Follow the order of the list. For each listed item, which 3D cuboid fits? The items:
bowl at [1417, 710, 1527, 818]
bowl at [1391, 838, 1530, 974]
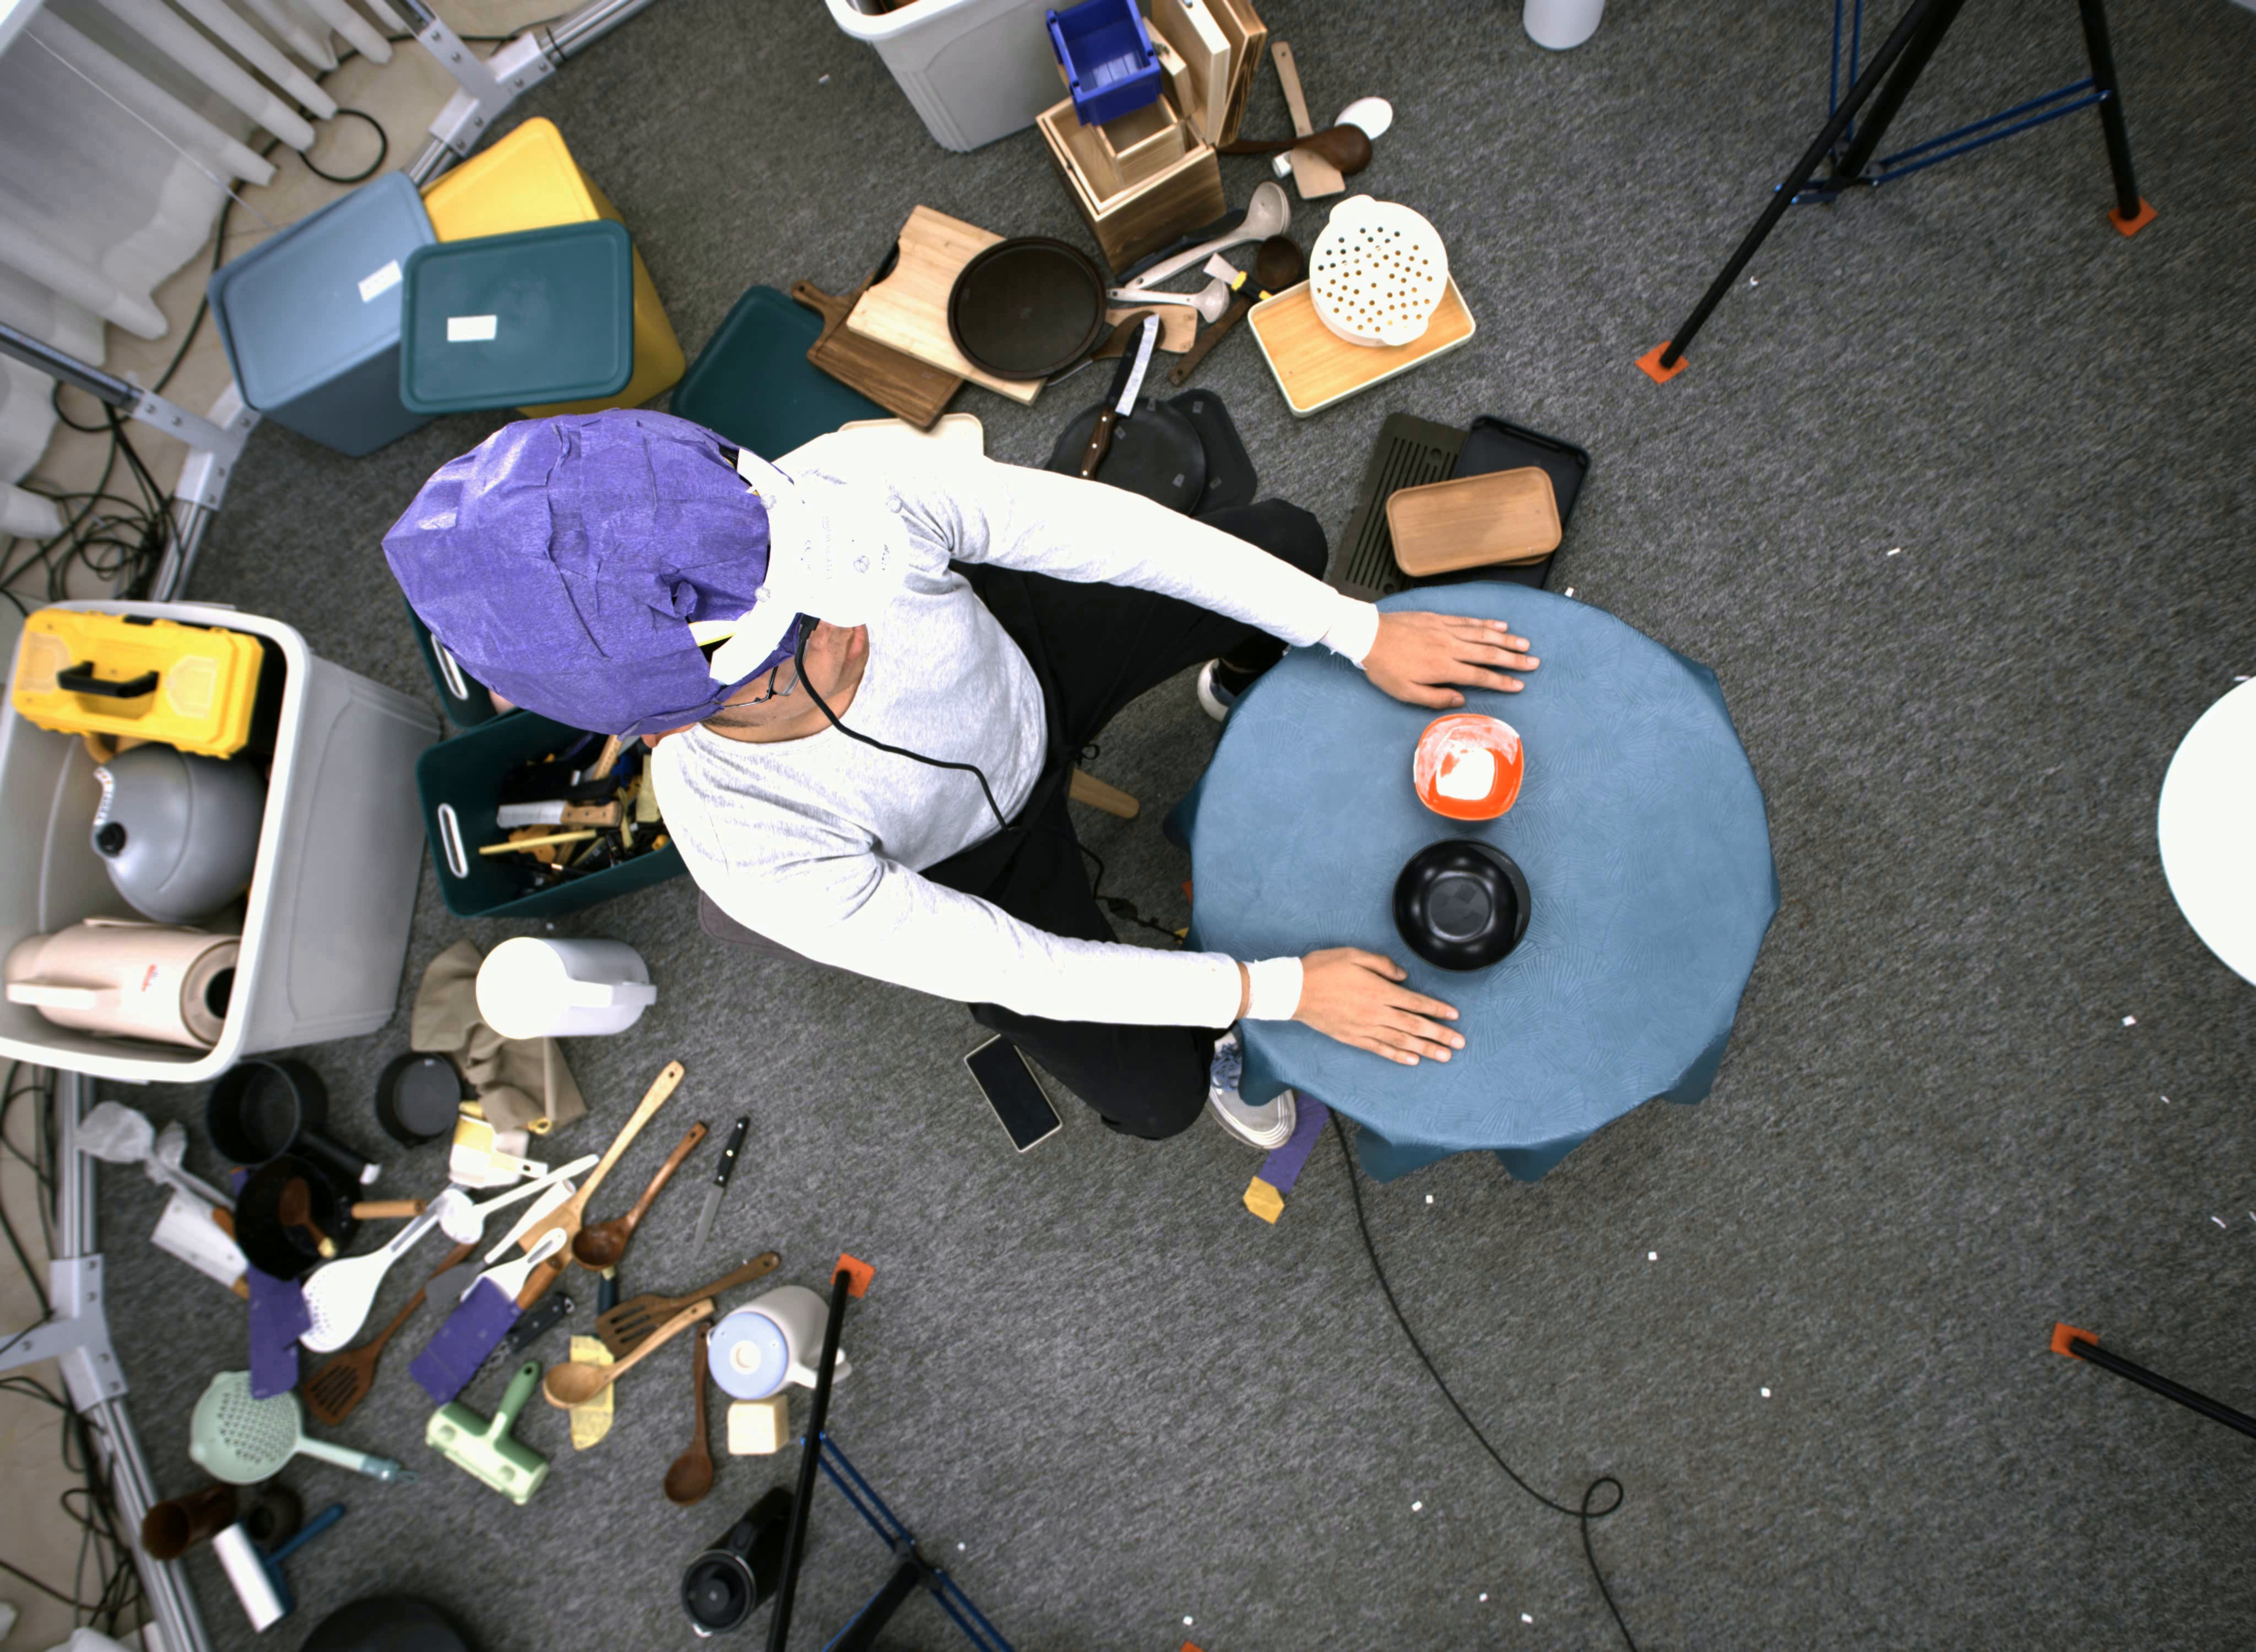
[{"bbox_3d":[0.353,-0.064,1.424,0.119,0.051,0.118,0,88,7],"label":"bowl"},{"bbox_3d":[0.341,0.081,1.422,0.140,0.050,0.139,-1,85,11],"label":"bowl"}]
